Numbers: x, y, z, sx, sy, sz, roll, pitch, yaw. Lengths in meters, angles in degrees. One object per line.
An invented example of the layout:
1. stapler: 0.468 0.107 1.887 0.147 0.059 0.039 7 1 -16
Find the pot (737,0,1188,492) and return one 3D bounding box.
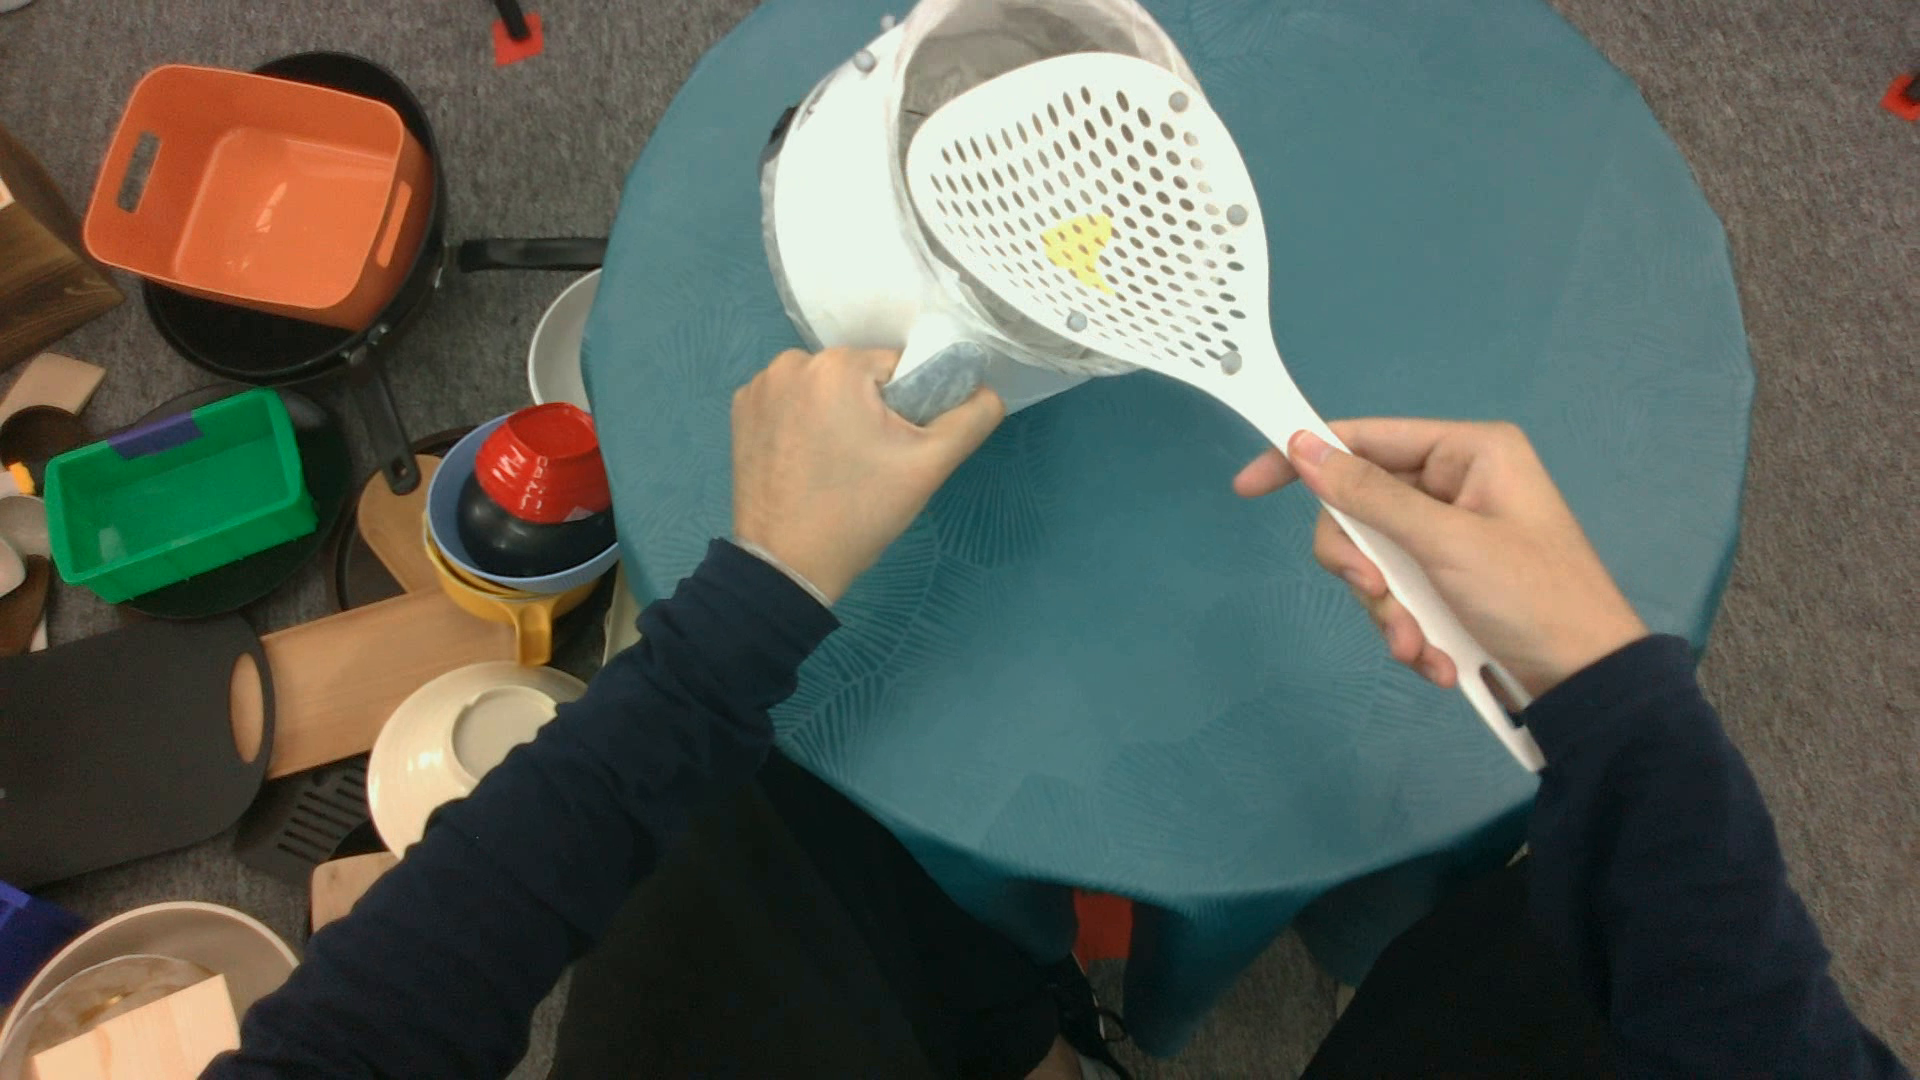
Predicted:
1. pot: -0.008 -0.129 0.607 0.178 0.136 0.234 33 65 -22

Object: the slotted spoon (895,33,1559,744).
1. slotted spoon: 0.102 -0.067 0.524 0.137 0.050 0.348 -27 64 -20
